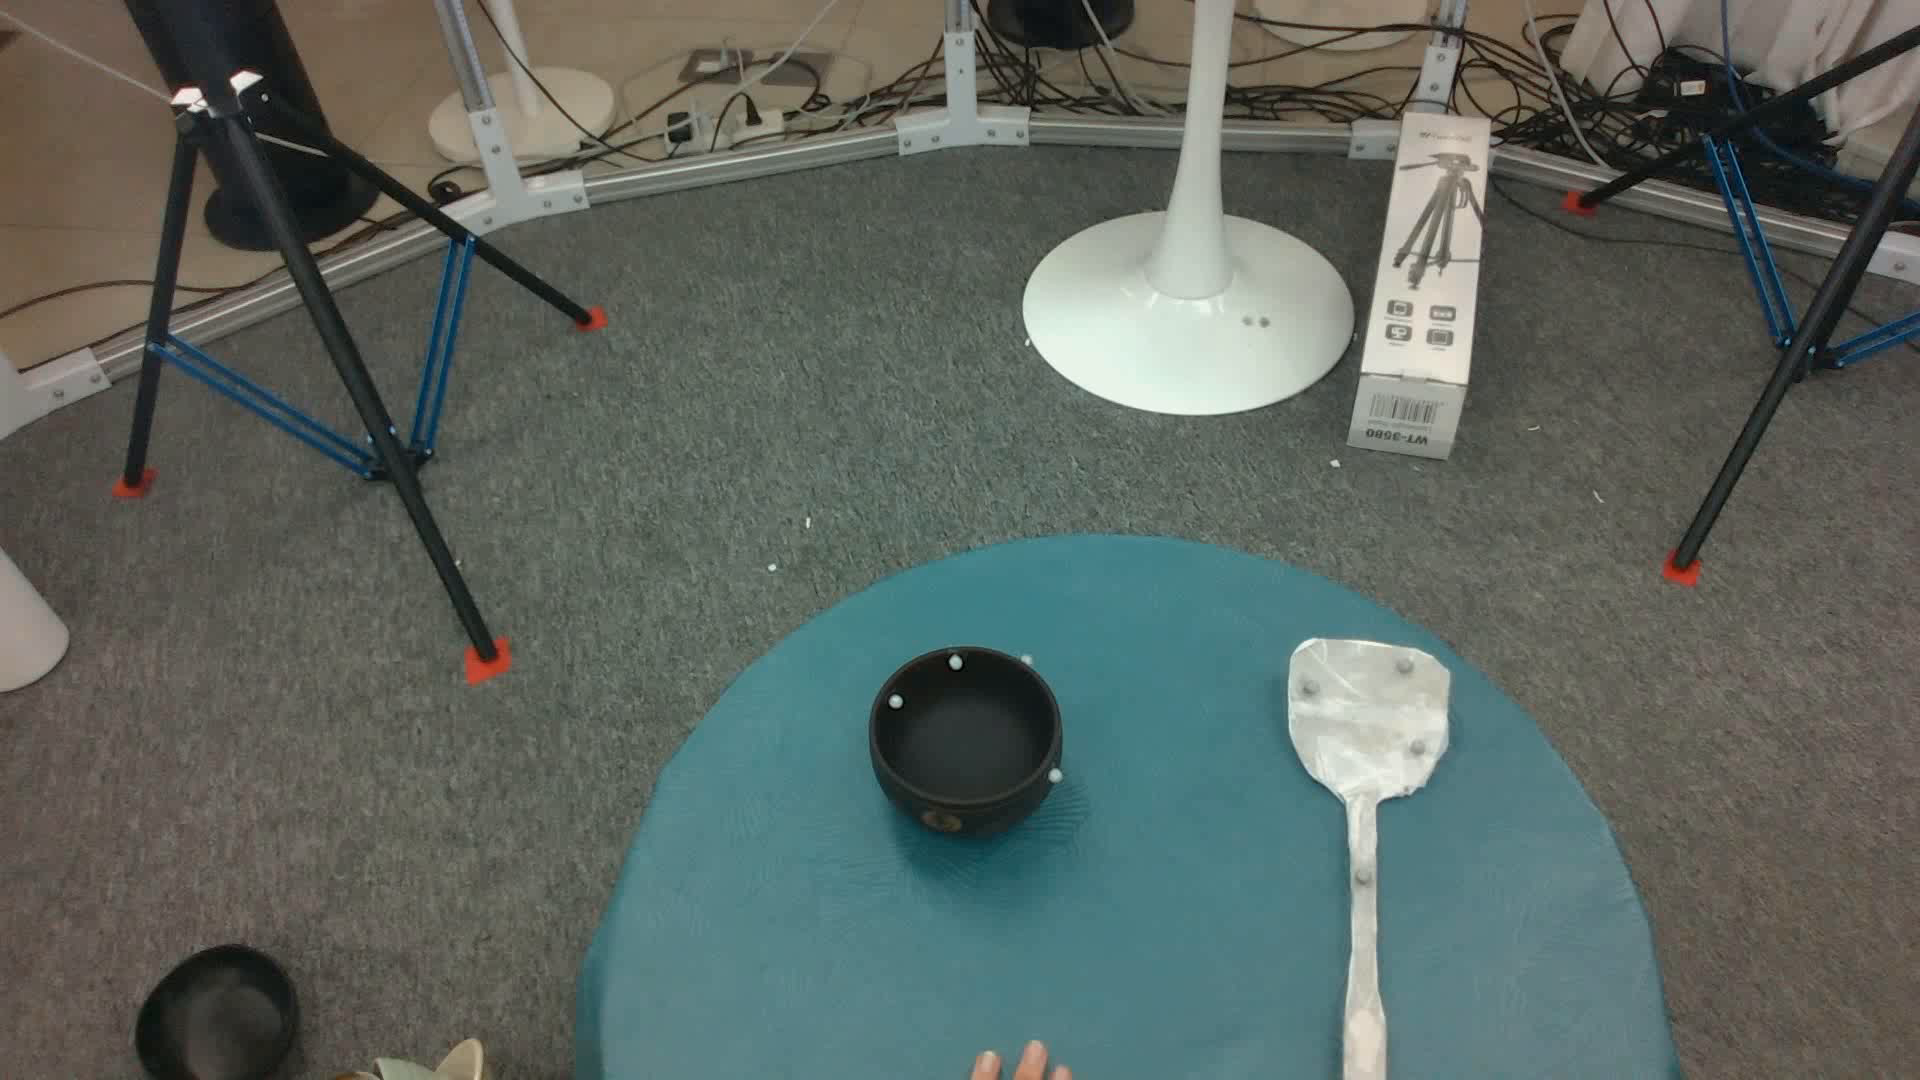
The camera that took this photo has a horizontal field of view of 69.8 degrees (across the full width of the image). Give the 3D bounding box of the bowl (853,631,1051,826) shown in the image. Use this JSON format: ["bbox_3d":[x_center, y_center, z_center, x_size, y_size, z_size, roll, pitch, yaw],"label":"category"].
[{"bbox_3d":[-0.004,0.121,0.833,0.118,0.069,0.118,-2,48,2],"label":"bowl"}]

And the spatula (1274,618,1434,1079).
[{"bbox_3d":[0.216,0.199,0.778,0.098,0.044,0.367,10,48,8],"label":"spatula"}]
